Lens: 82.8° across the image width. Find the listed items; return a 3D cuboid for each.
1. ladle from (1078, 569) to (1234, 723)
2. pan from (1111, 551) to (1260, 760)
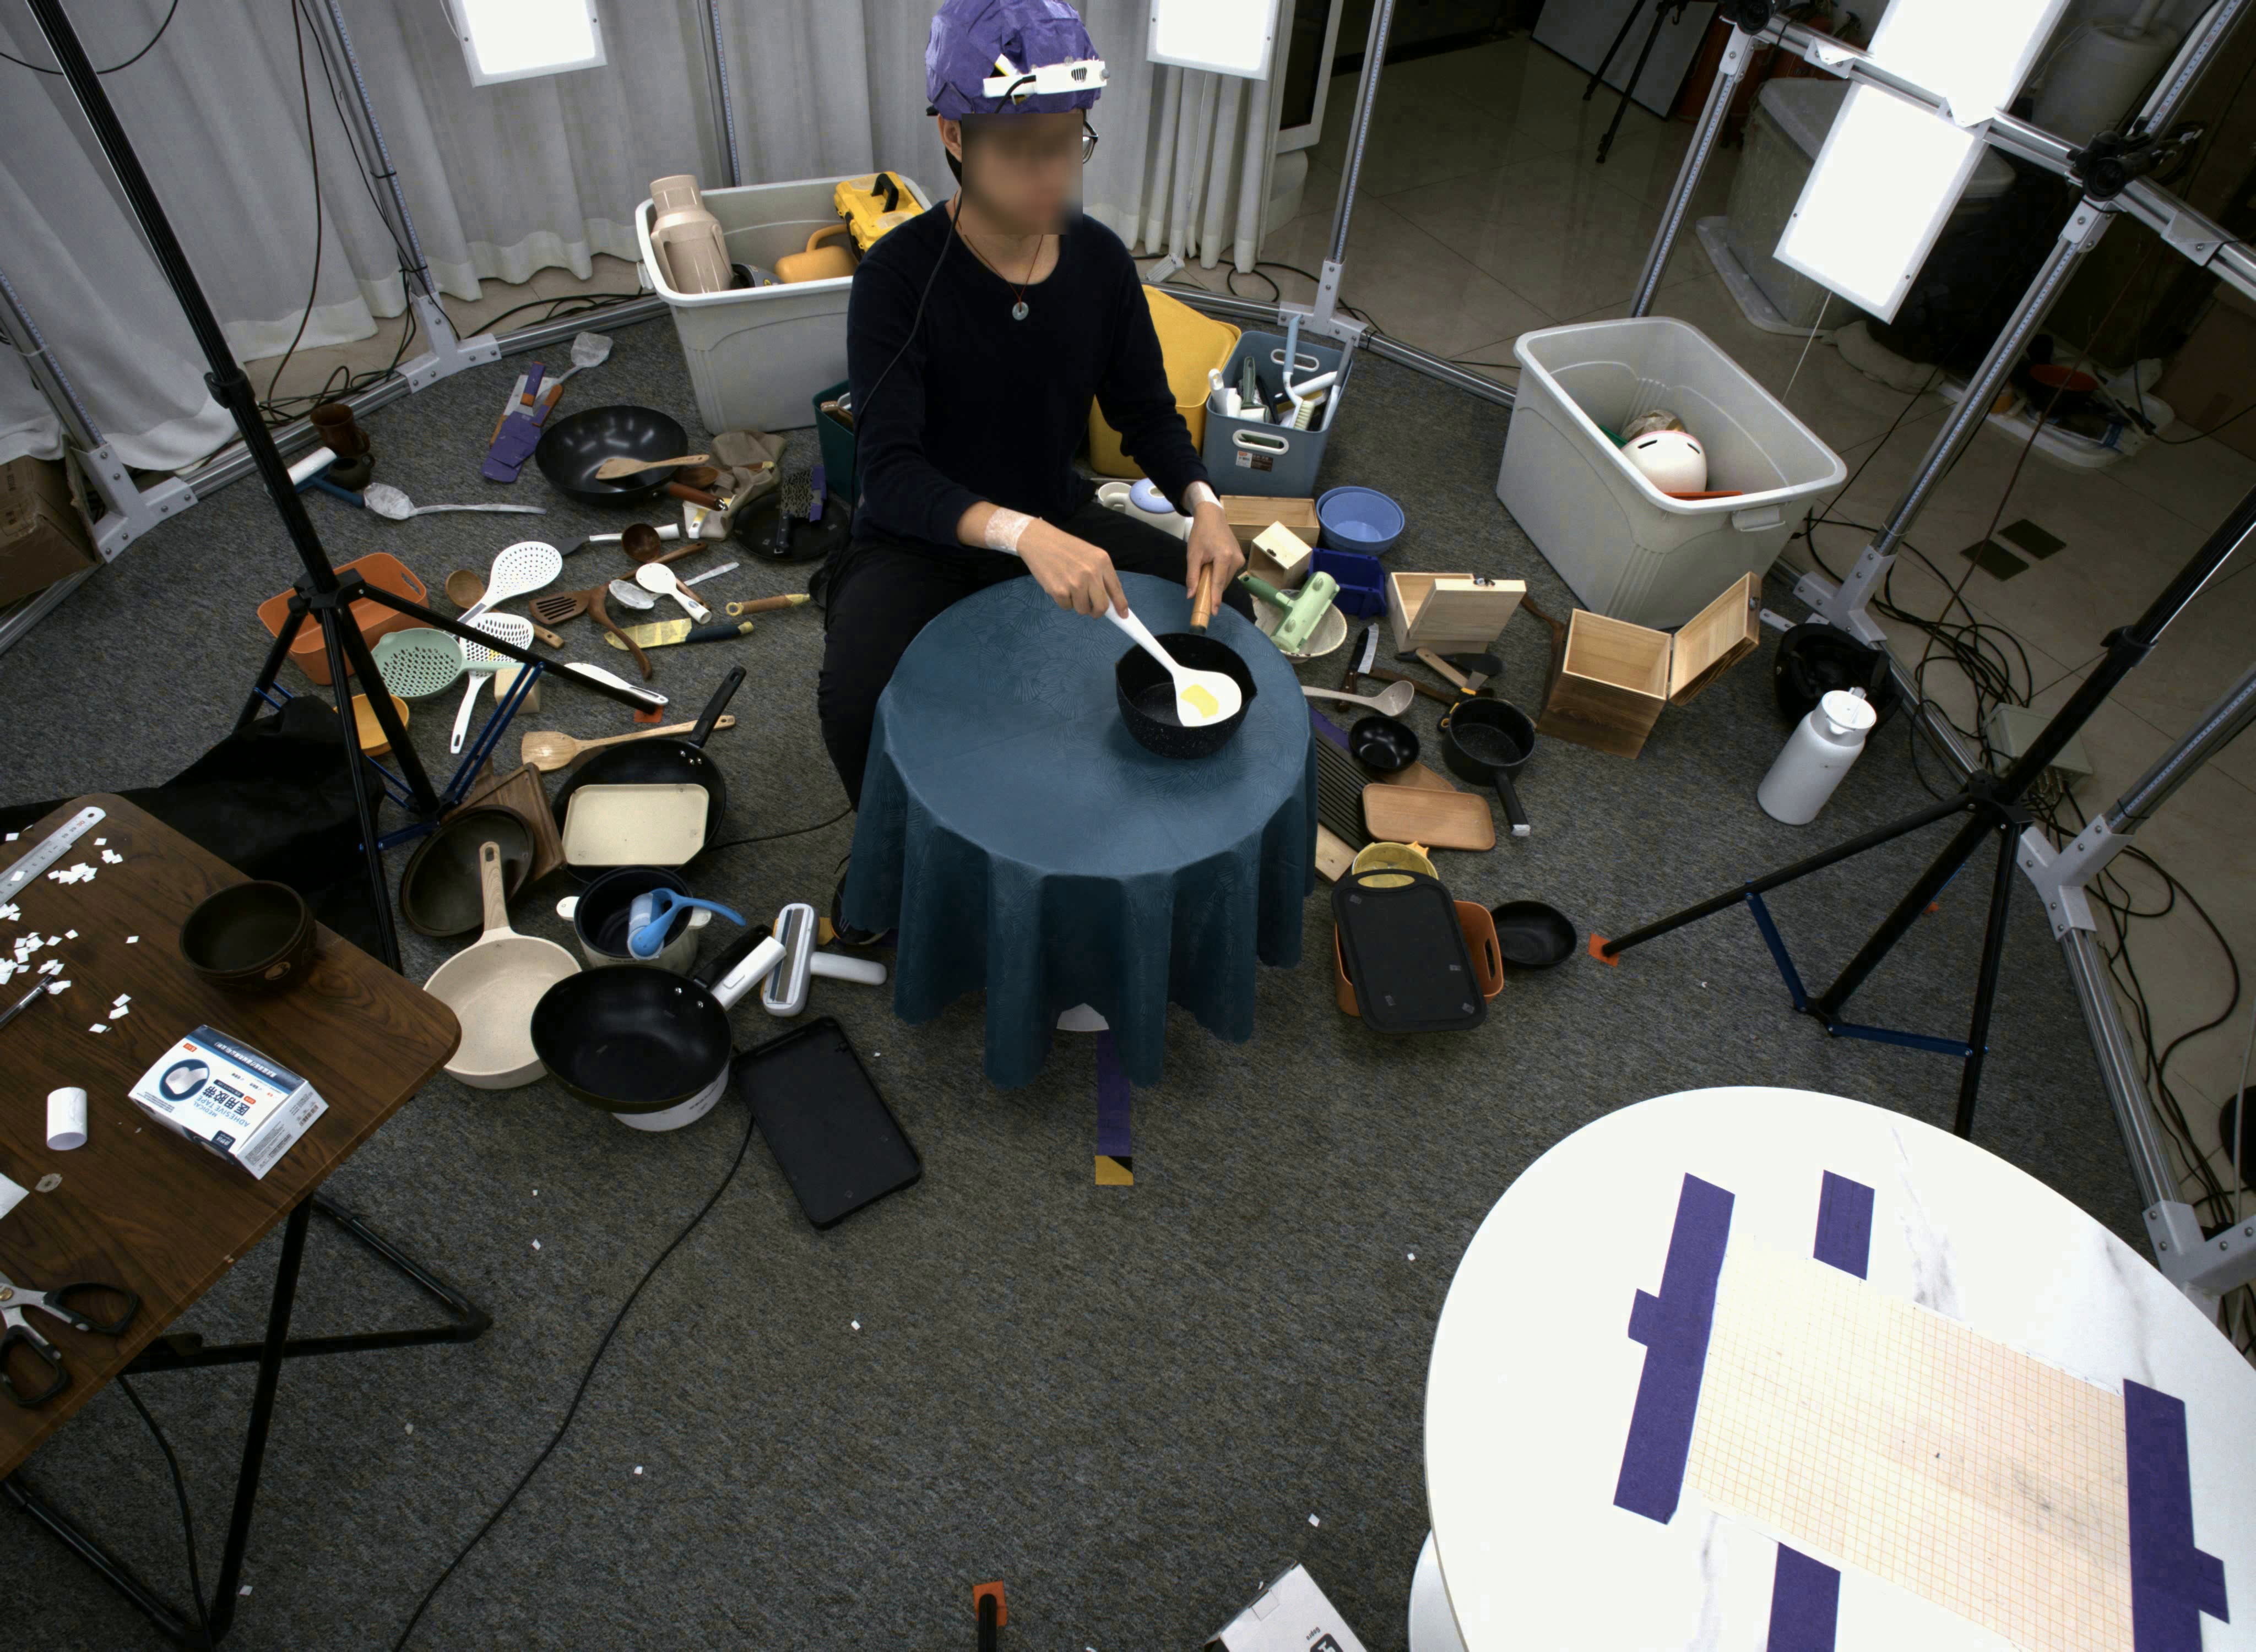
[{"bbox_3d":[0.036,-0.218,1.652,0.090,0.287,0.071,-40,43,7],"label":"ladle"},{"bbox_3d":[0.089,-0.243,1.815,0.207,0.105,0.351,9,51,5],"label":"pan"}]
